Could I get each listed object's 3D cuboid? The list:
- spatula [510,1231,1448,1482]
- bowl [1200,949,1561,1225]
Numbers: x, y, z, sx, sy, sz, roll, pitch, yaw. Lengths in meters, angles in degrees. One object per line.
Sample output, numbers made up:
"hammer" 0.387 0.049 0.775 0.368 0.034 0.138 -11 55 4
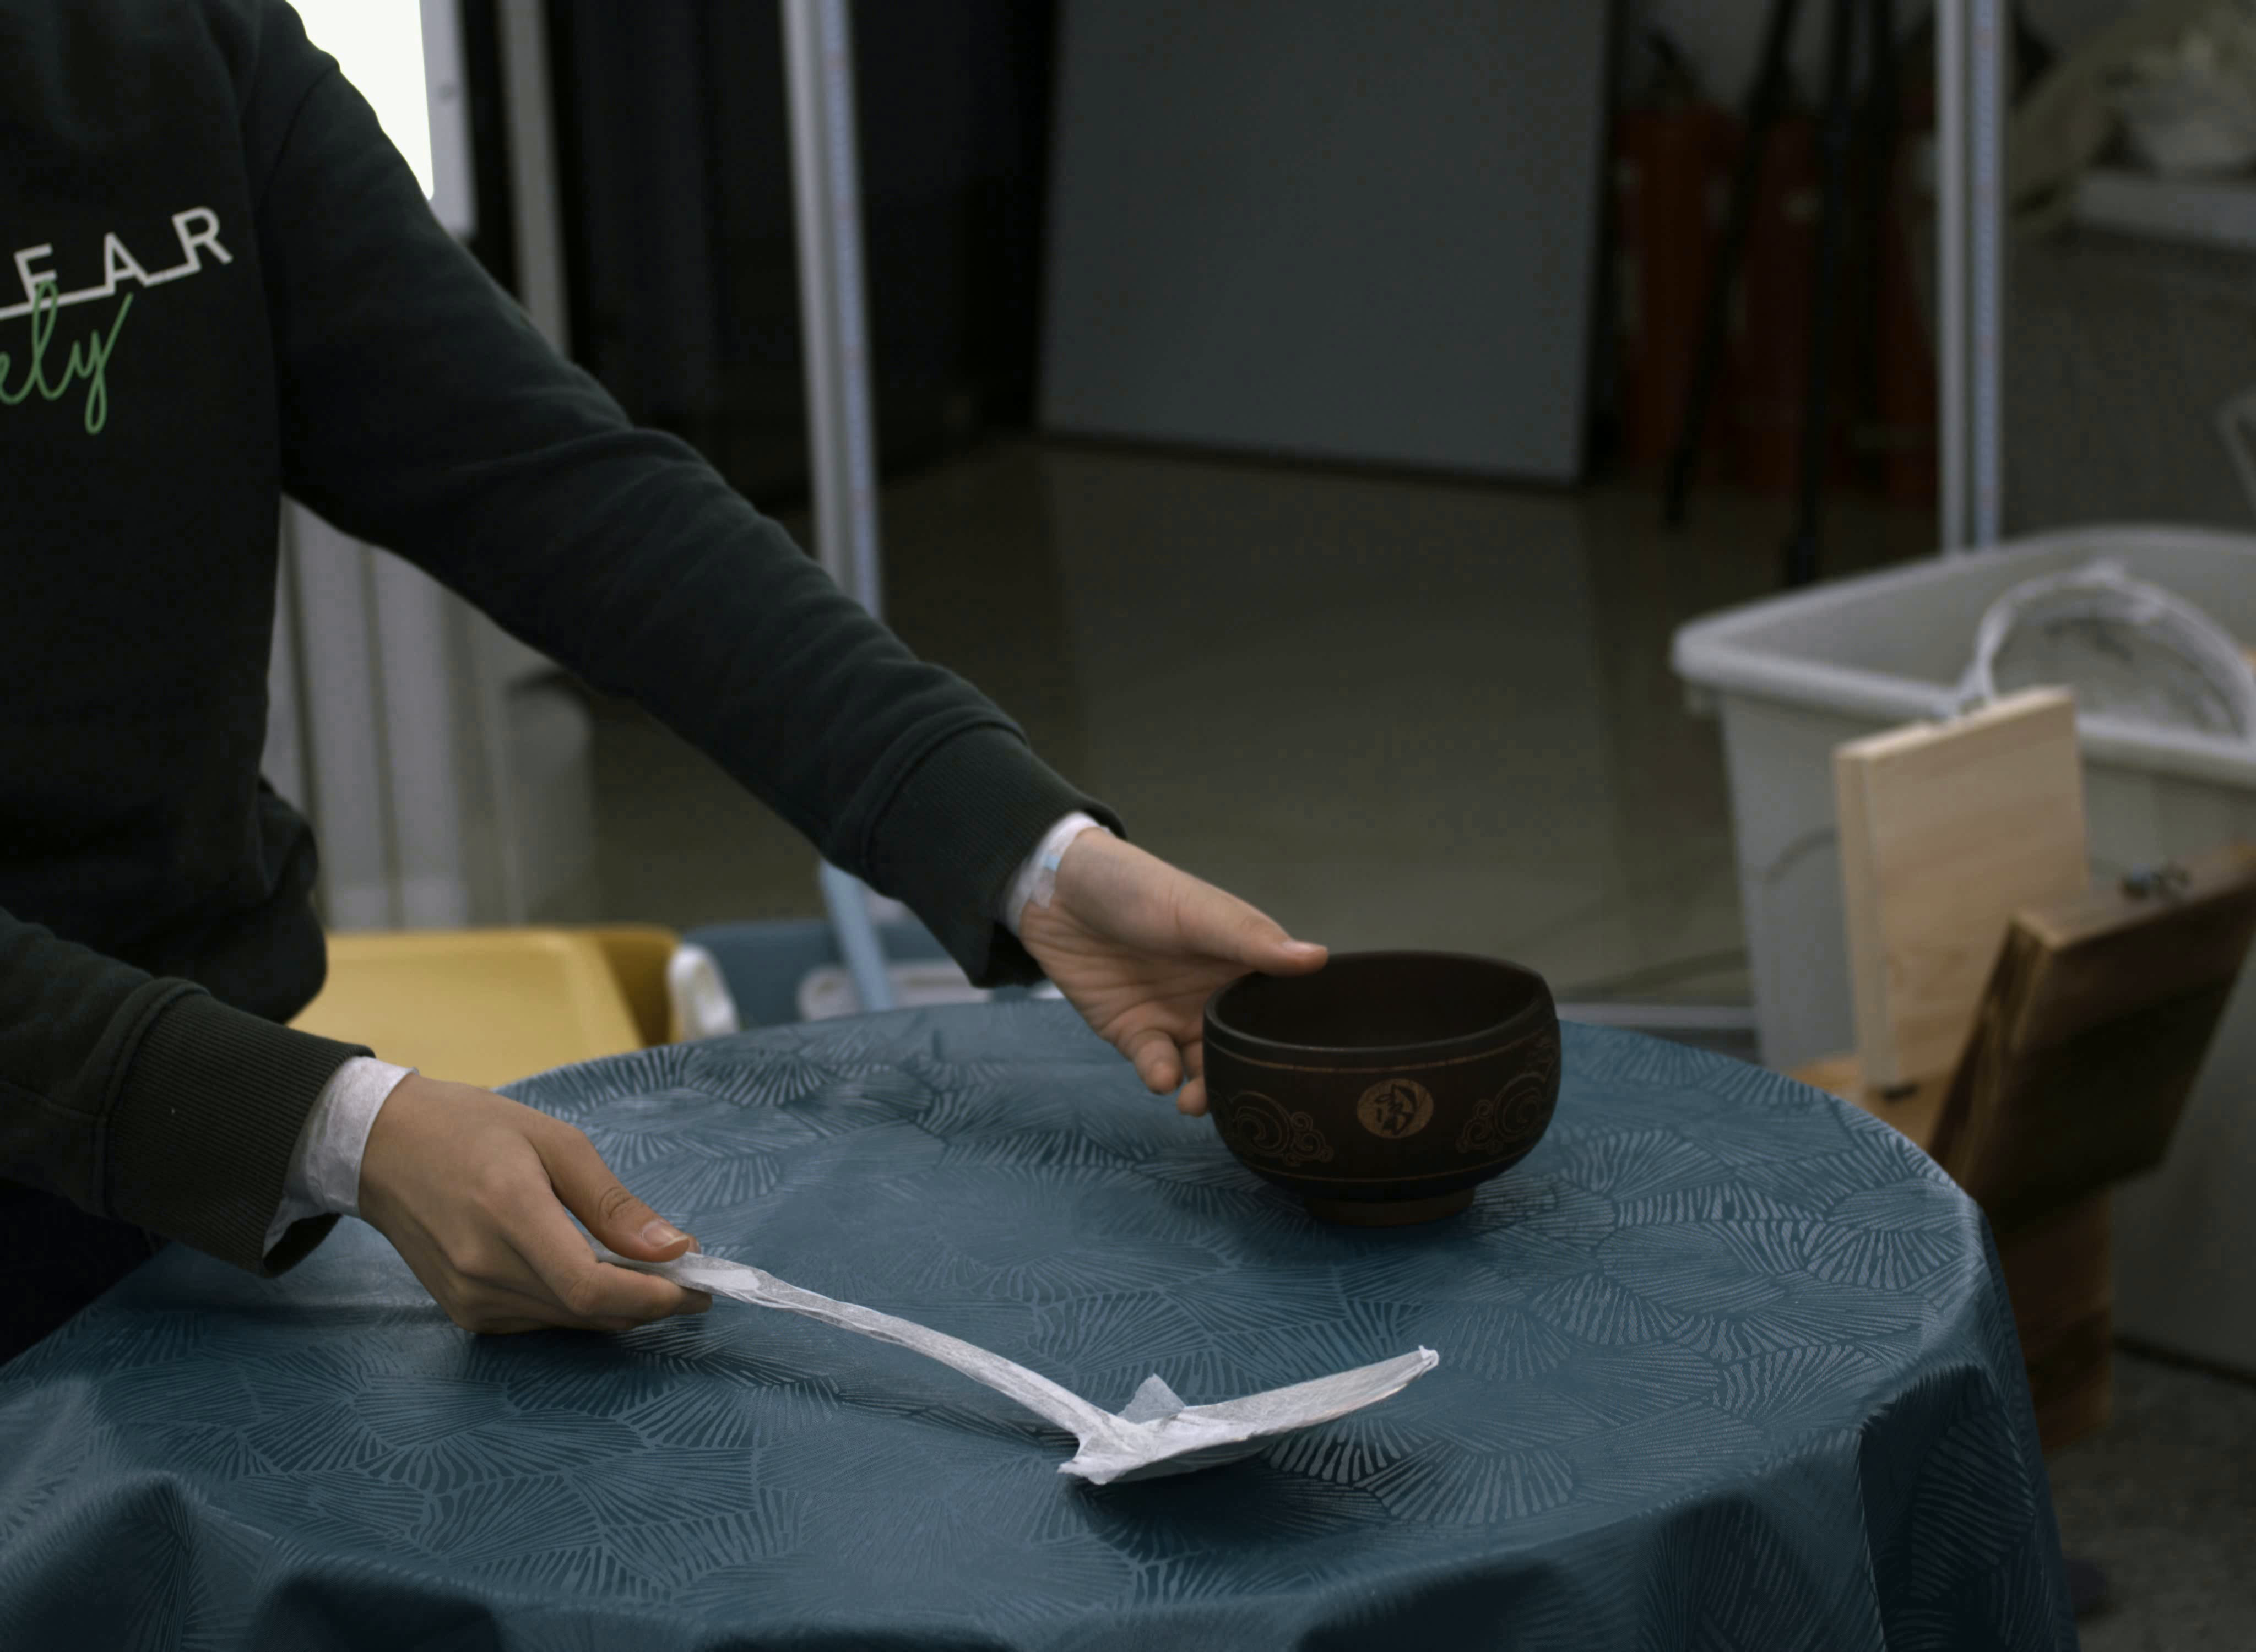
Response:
"spatula" -0.065 0.145 1.593 0.368 0.045 0.097 12 21 41
"bowl" 0.082 0.087 1.736 0.116 0.070 0.118 -4 12 0
